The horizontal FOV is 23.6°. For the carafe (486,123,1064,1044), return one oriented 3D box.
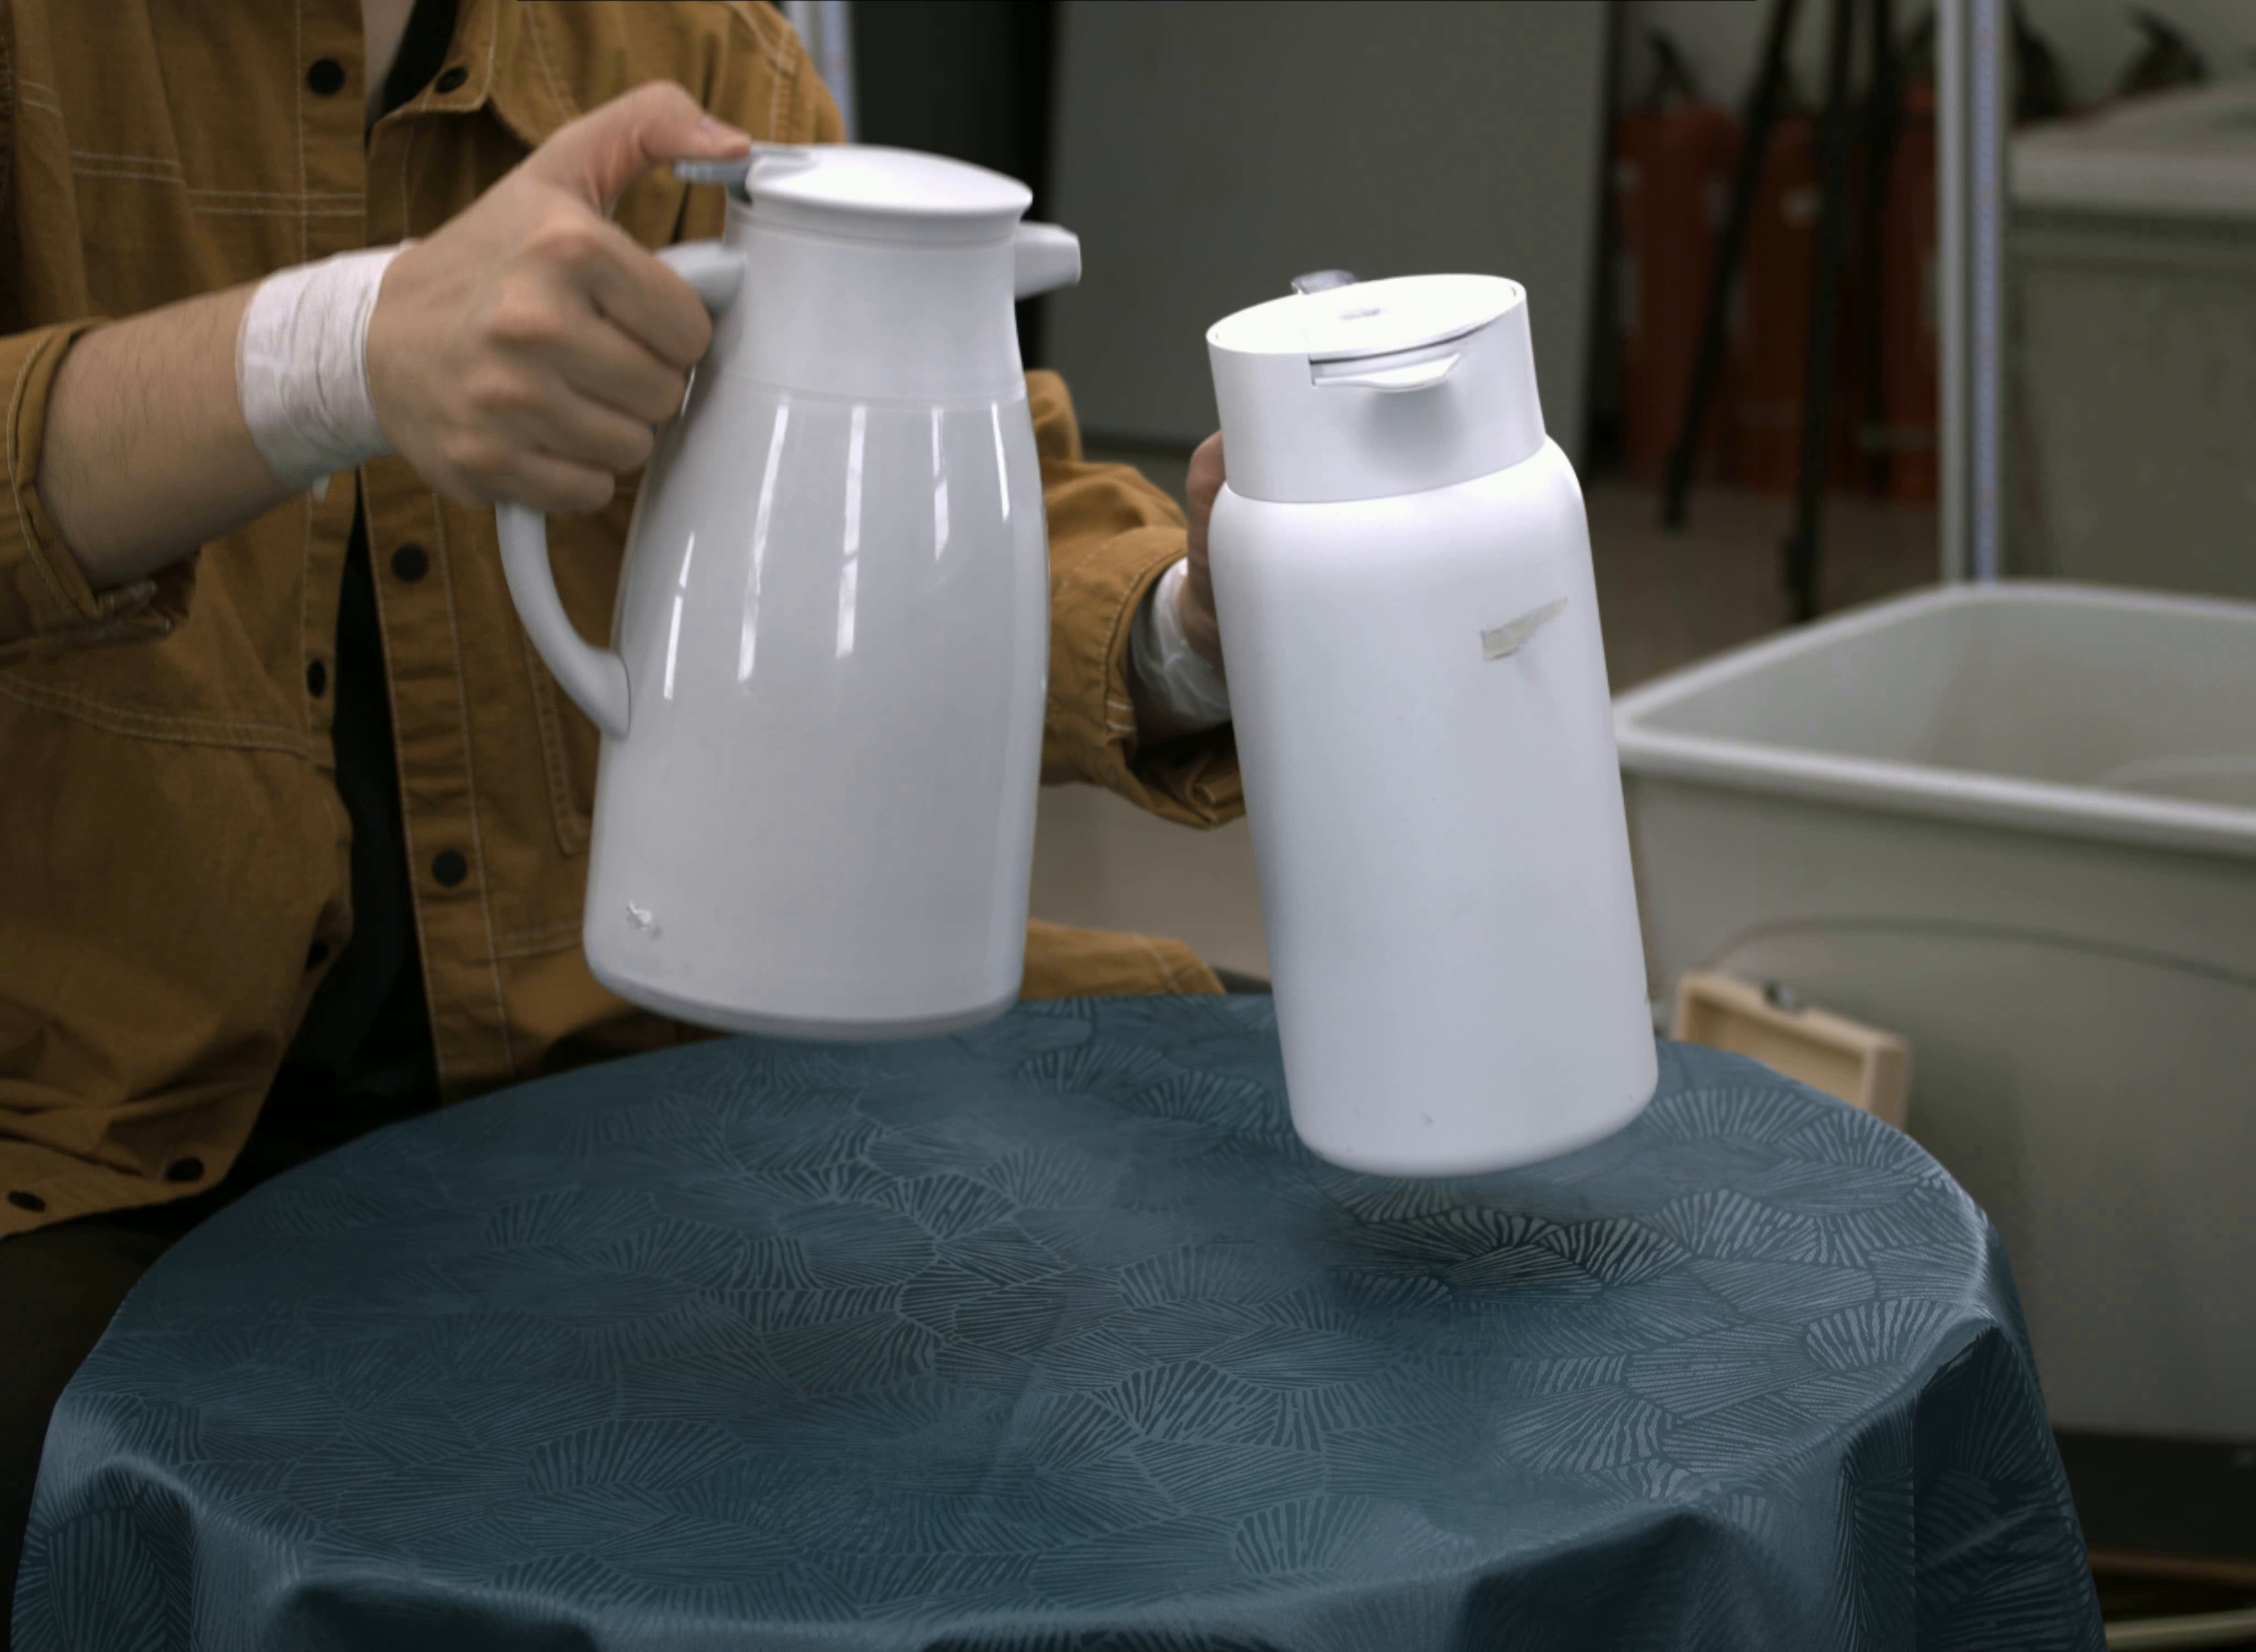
[{"bbox_3d":[-0.103,-0.075,1.560,0.164,0.251,0.134,-1,15,-20],"label":"carafe"}]

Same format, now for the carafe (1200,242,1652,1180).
[{"bbox_3d":[0.085,-0.038,1.674,0.122,0.271,0.174,-13,15,-7],"label":"carafe"}]
